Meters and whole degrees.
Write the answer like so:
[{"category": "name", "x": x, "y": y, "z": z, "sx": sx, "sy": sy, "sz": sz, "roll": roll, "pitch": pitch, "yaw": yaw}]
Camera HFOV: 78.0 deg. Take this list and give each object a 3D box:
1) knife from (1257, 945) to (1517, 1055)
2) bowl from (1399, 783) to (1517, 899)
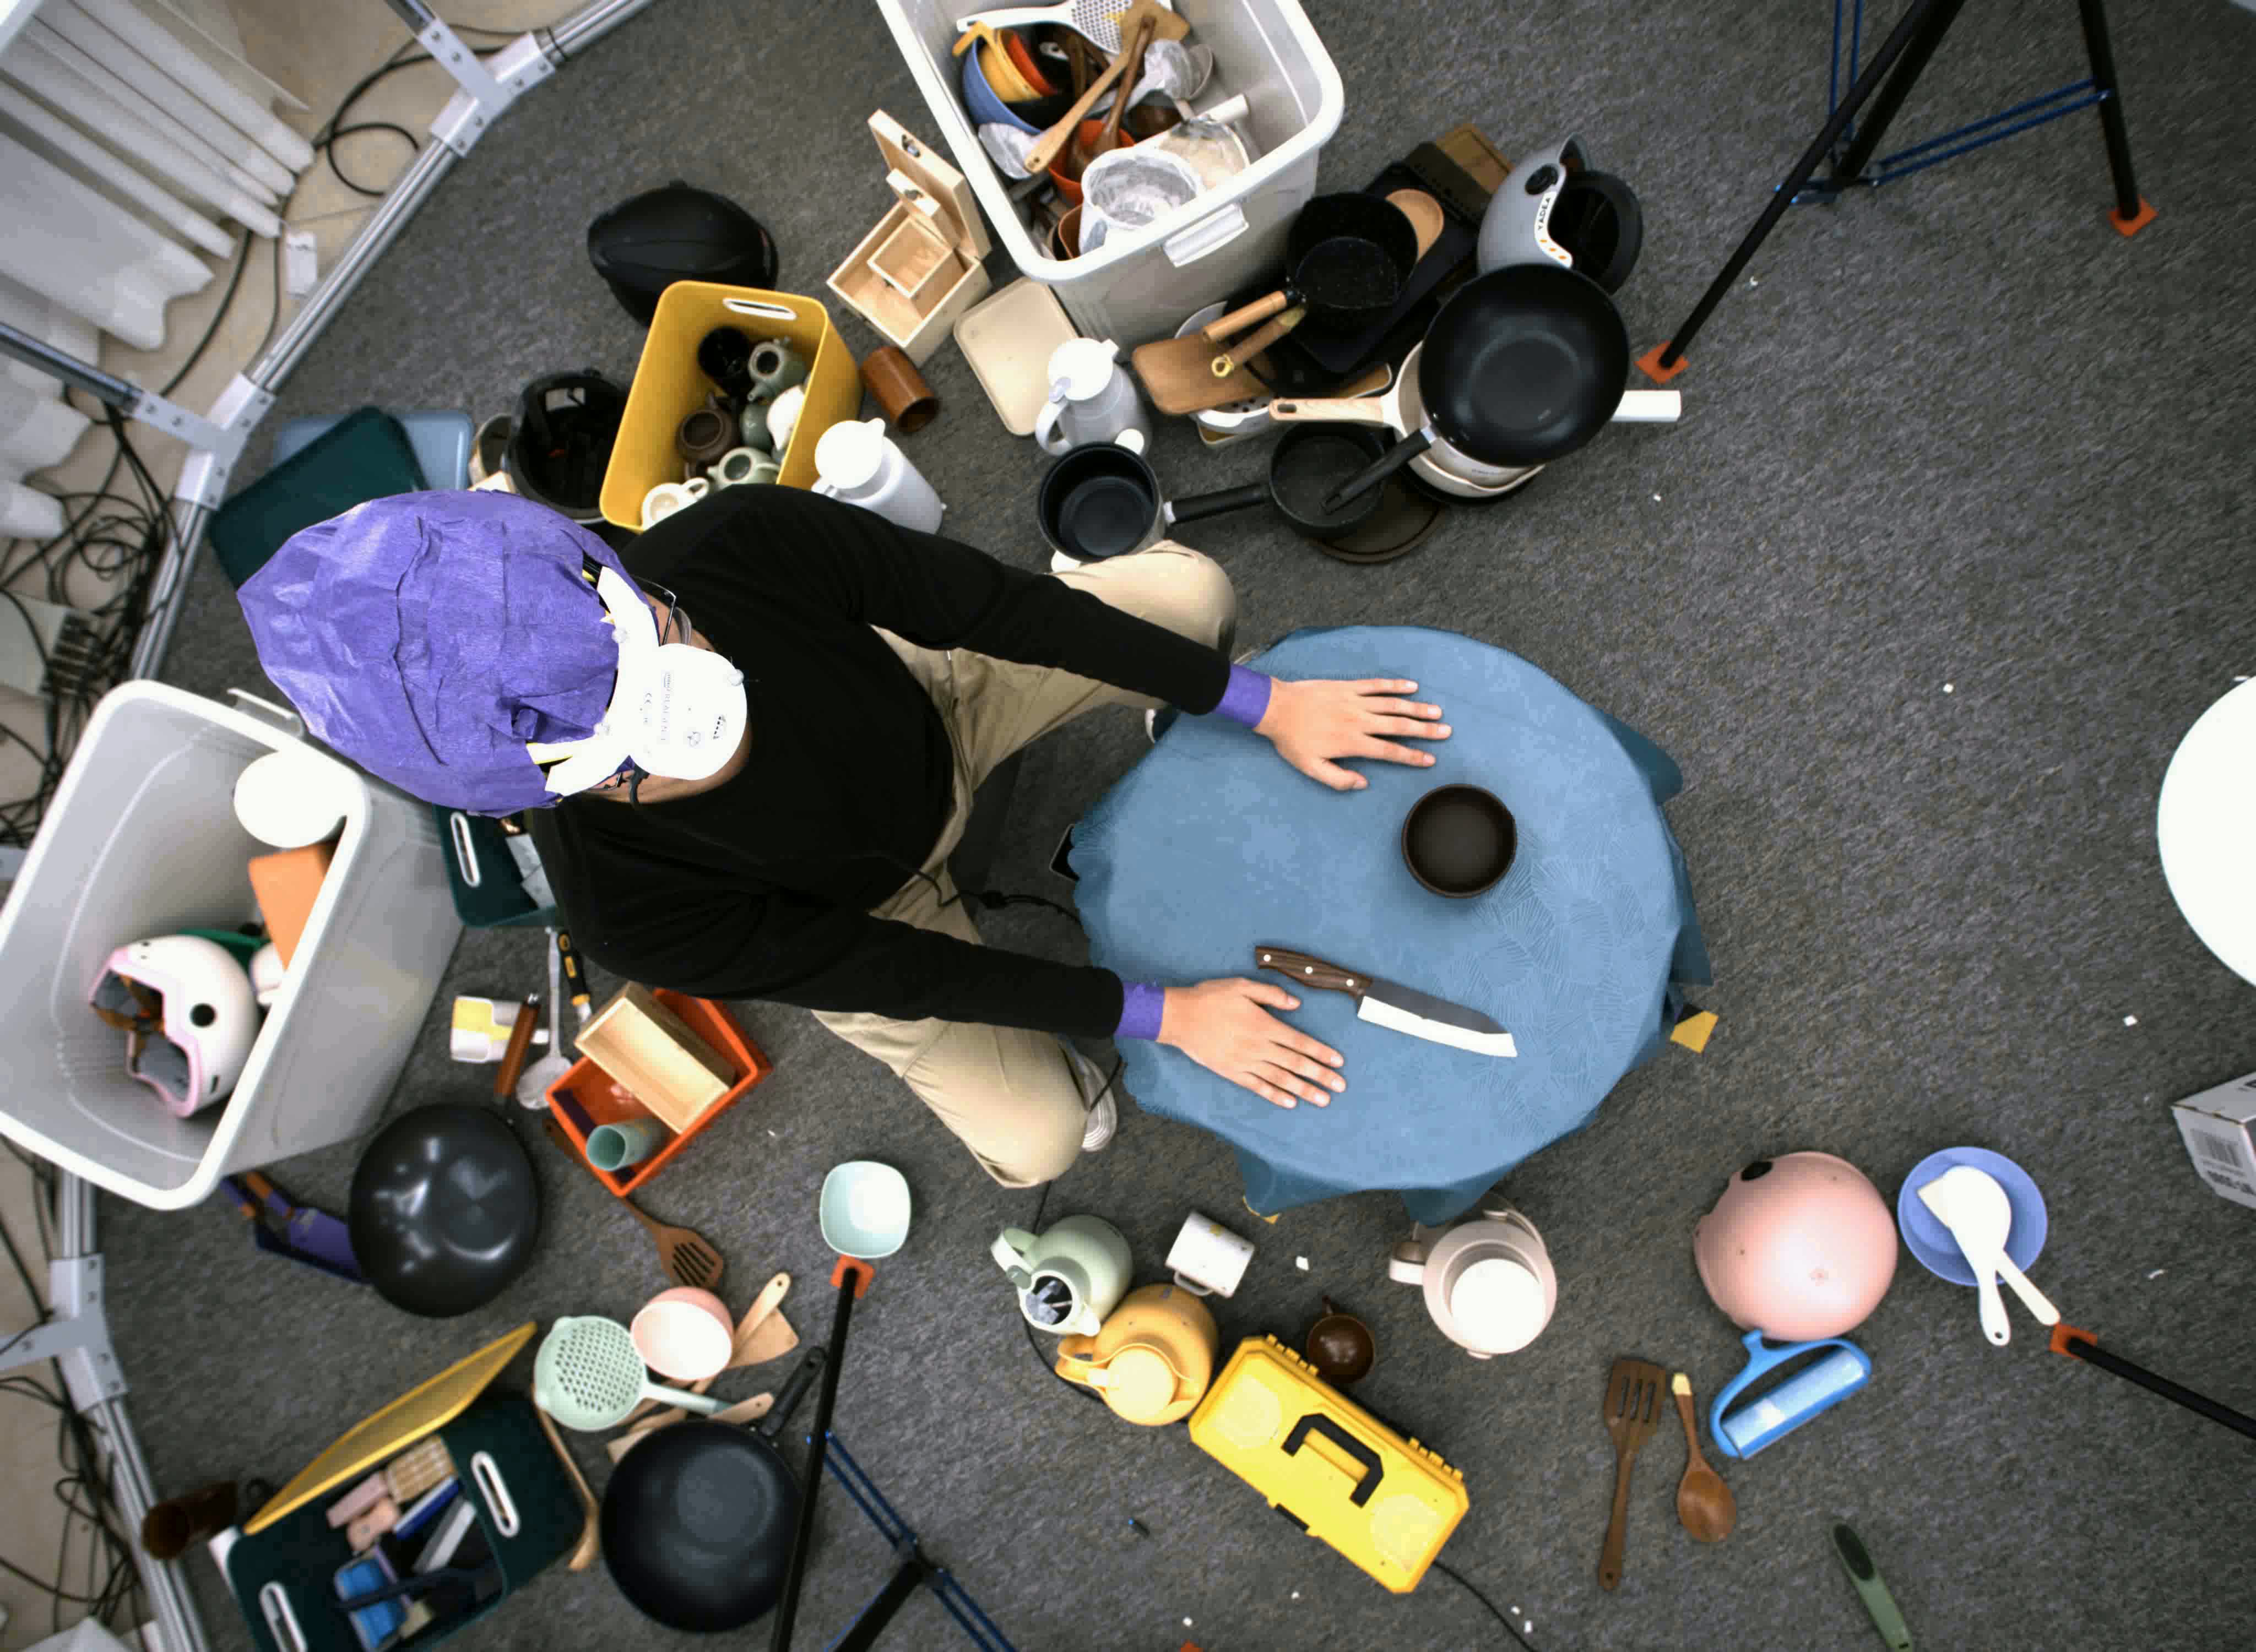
[{"category": "knife", "x": 0.269, "y": 0.181, "z": 1.449, "sx": 0.289, "sy": 0.020, "sz": 0.050, "roll": 20, "pitch": 95, "yaw": 9}, {"category": "bowl", "x": 0.339, "y": 0.015, "z": 1.415, "sx": 0.118, "sy": 0.070, "sz": 0.117, "roll": -1, "pitch": 87, "yaw": 12}]
